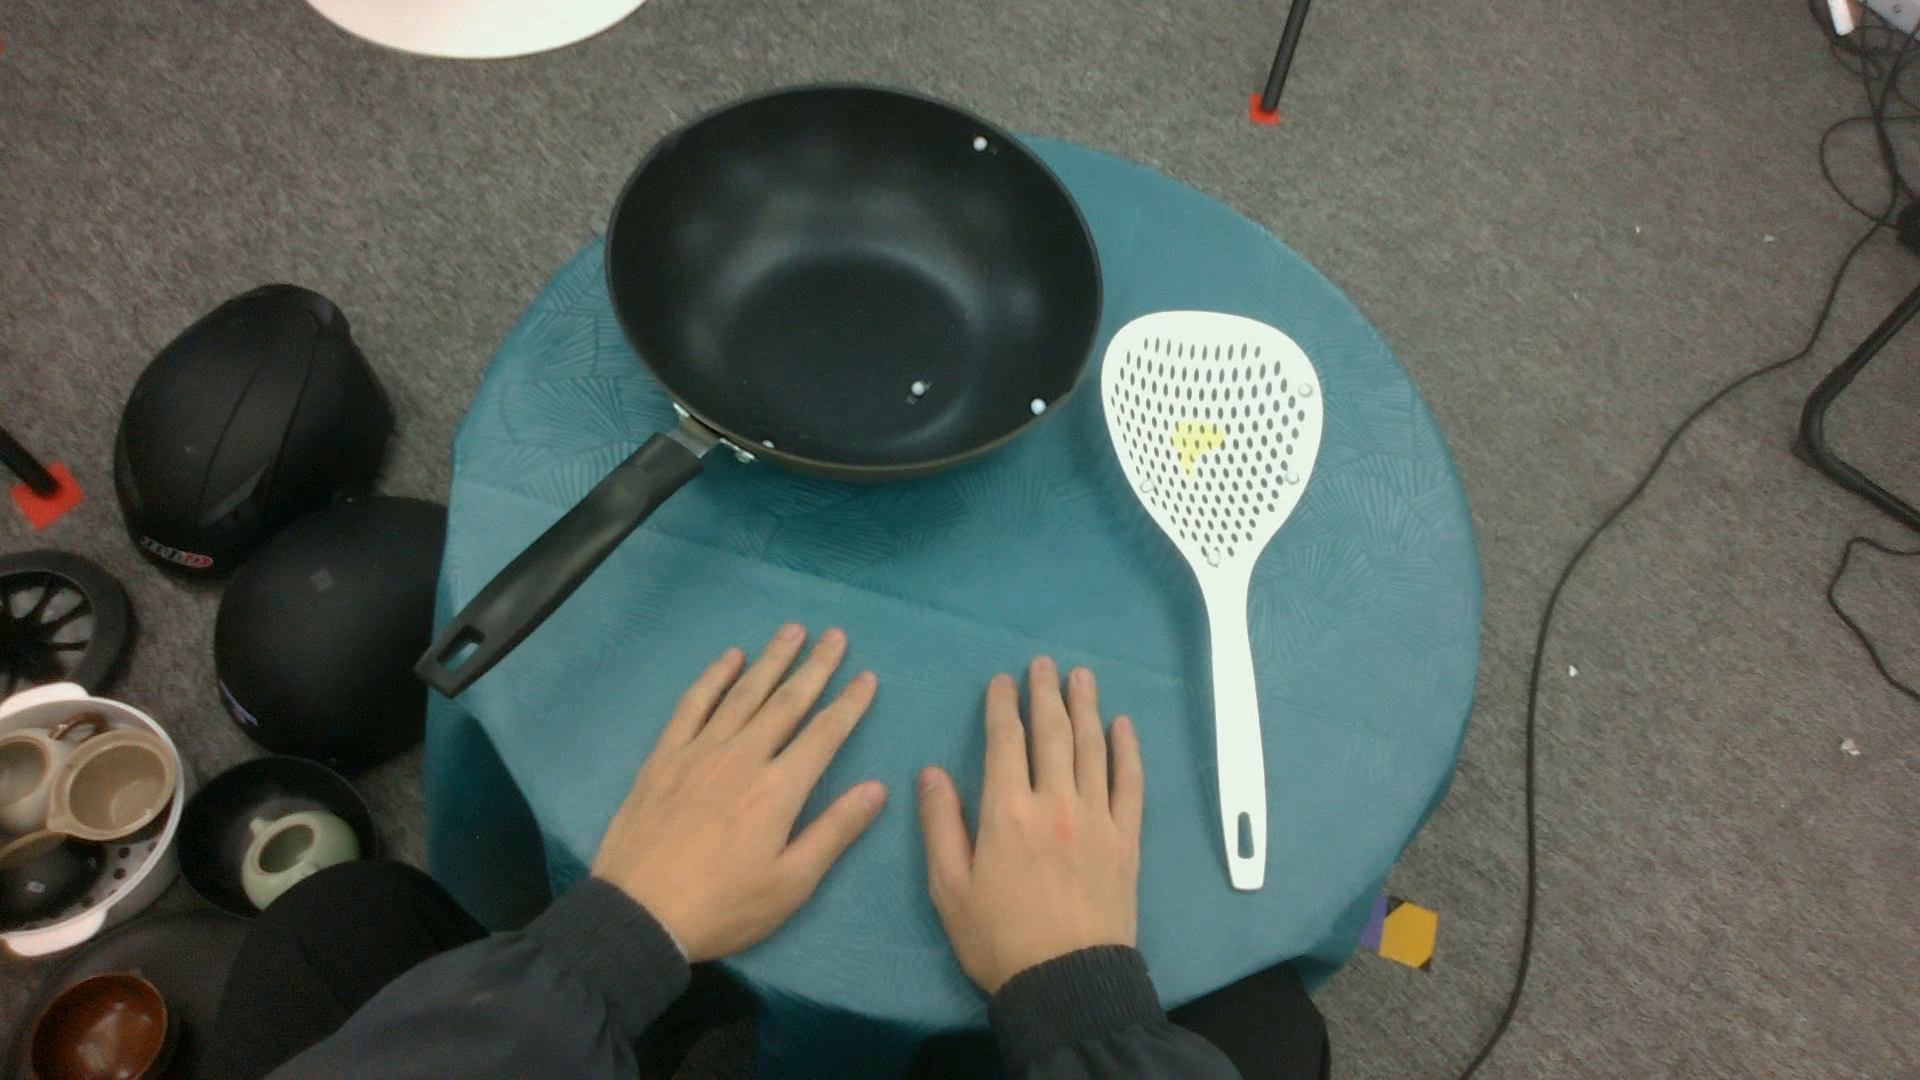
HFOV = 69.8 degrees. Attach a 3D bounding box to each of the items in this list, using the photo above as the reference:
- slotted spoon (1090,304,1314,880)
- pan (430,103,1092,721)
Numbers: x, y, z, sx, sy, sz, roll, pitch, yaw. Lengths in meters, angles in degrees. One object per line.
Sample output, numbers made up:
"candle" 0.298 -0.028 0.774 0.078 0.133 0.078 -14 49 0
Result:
"slotted spoon" 0.149 0.015 0.788 0.137 0.050 0.349 1 60 -6
"pan" -0.115 -0.066 0.782 0.288 0.086 0.465 30 62 12
